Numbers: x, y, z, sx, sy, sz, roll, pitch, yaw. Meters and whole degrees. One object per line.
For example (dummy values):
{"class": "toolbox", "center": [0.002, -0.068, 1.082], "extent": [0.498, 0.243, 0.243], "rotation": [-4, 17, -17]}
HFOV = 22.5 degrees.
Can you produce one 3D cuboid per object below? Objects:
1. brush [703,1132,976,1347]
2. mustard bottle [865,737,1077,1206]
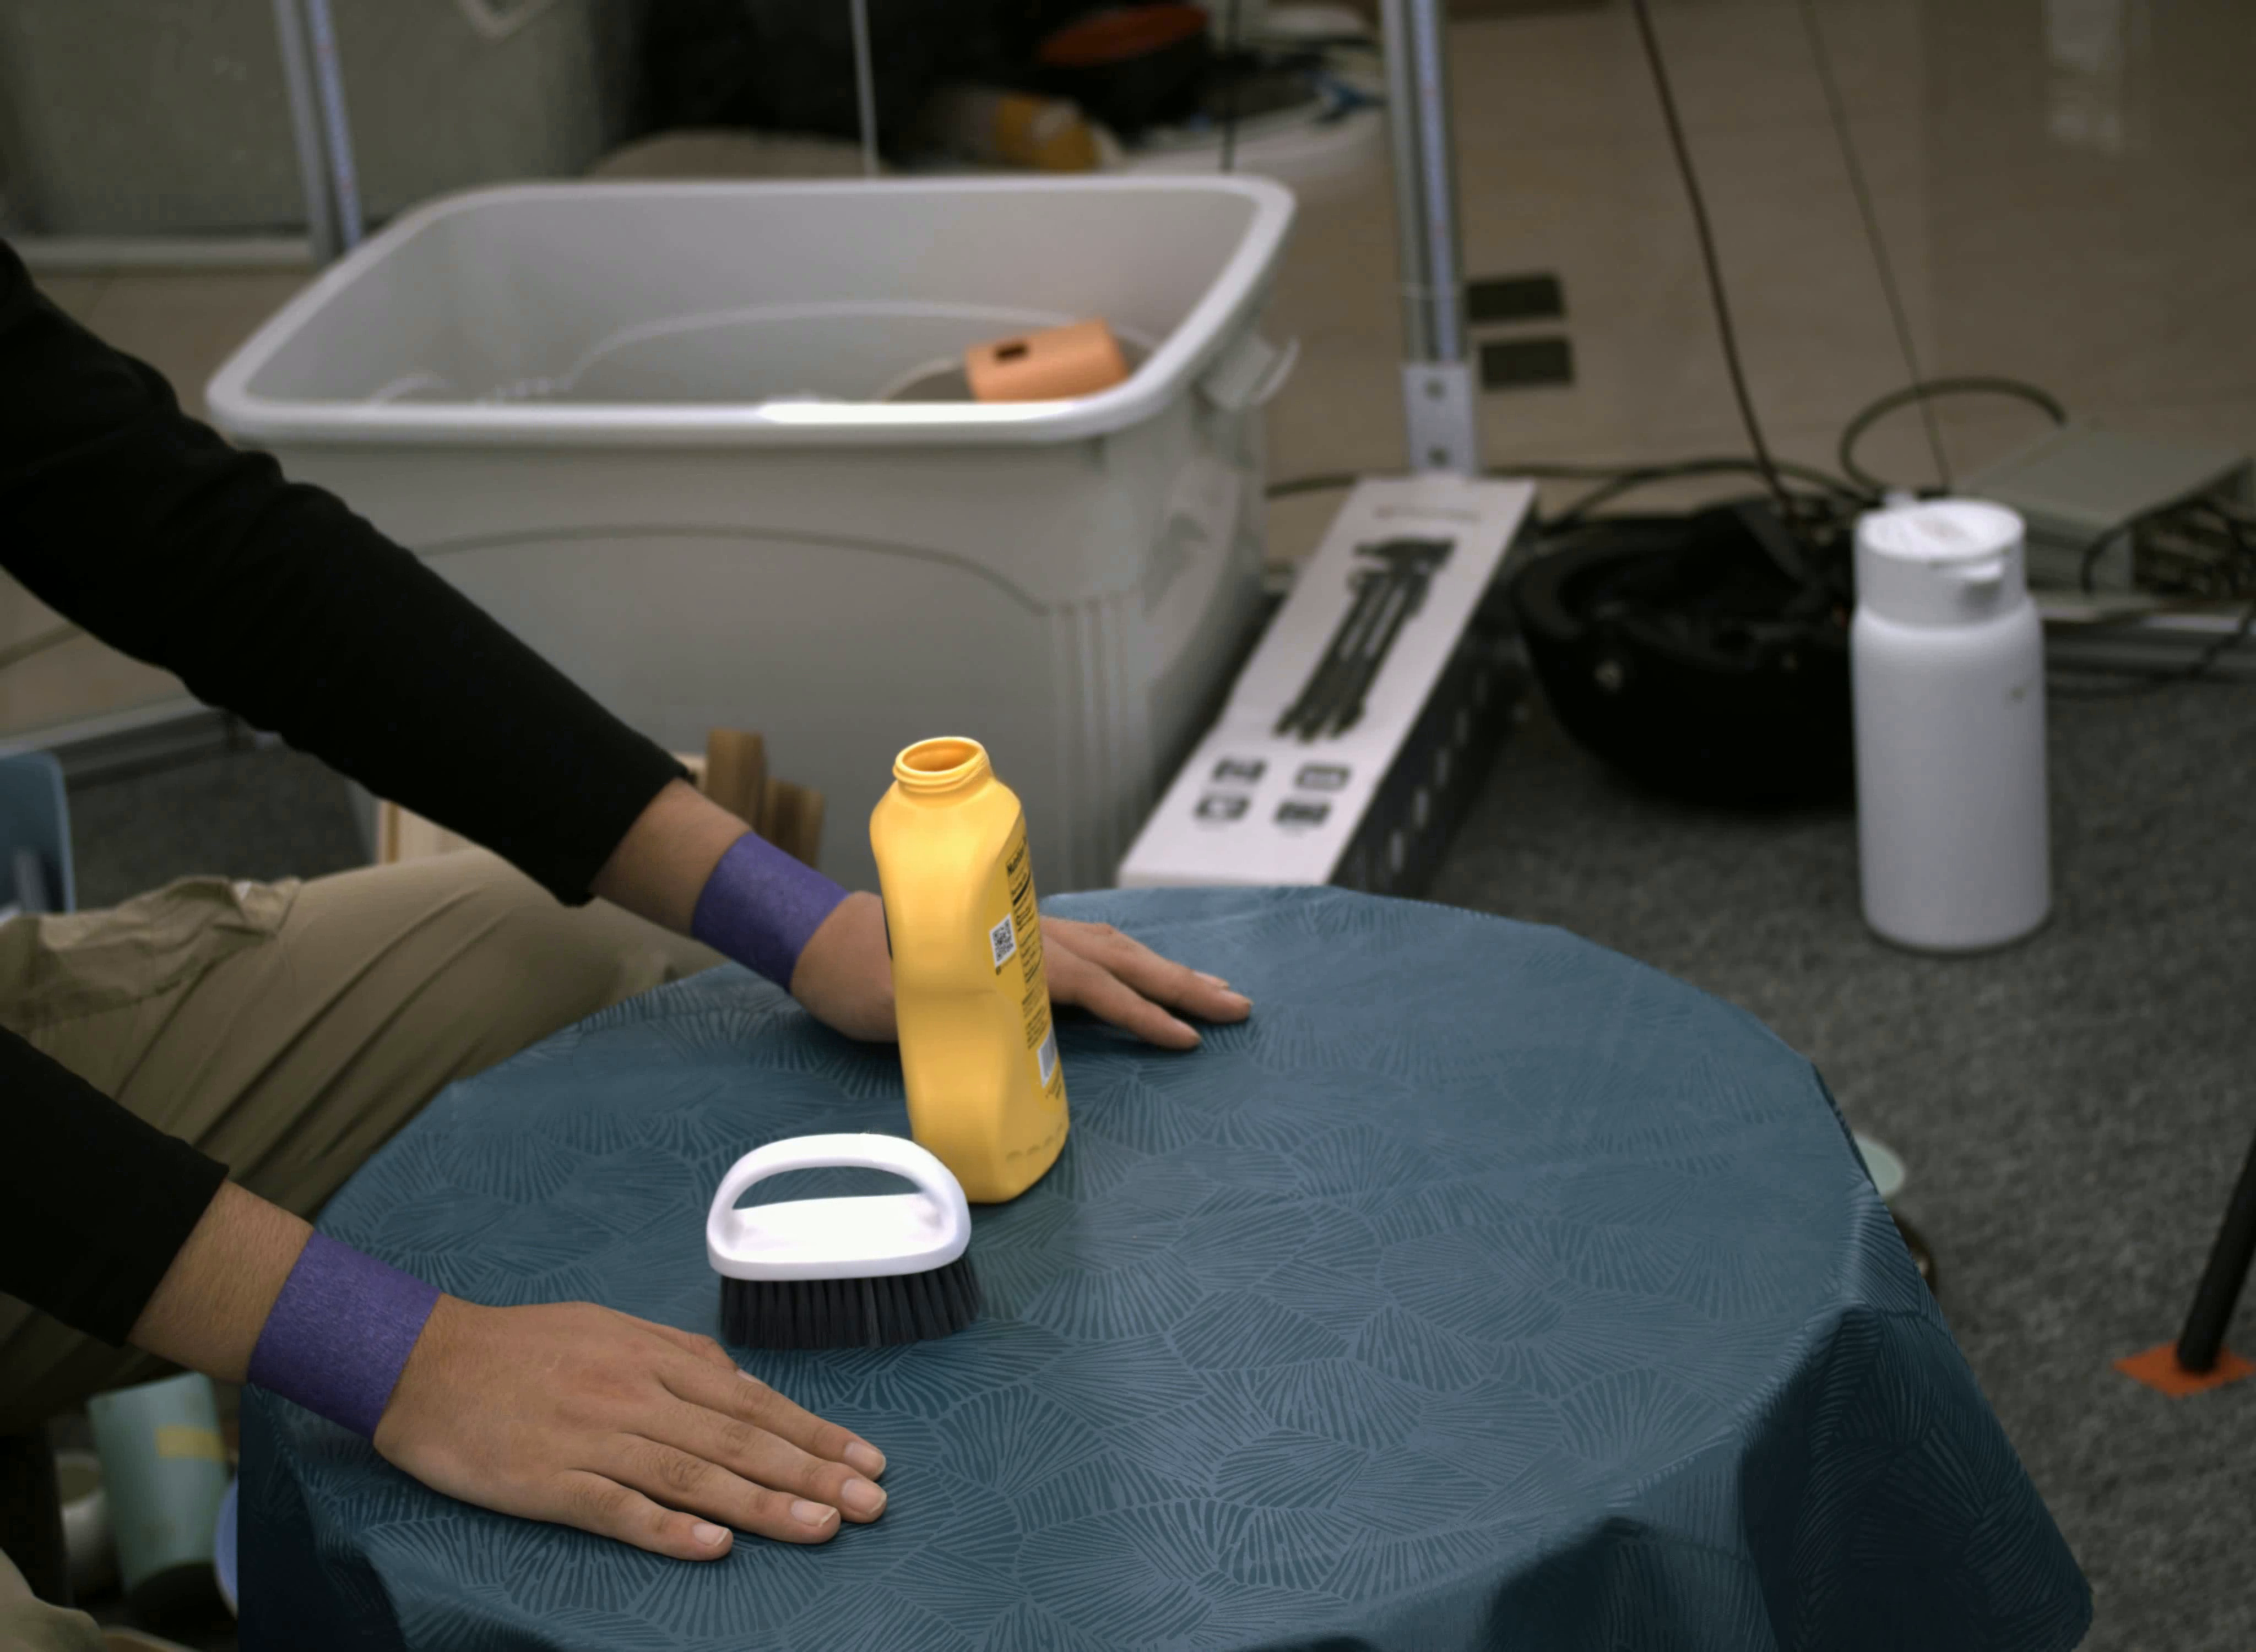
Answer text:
{"class": "brush", "center": [-0.107, 0.146, 2.067], "extent": [0.099, 0.073, 0.049], "rotation": [-1, 25, 8]}
{"class": "mustard bottle", "center": [-0.061, 0.051, 2.147], "extent": [0.059, 0.175, 0.097], "rotation": [-3, 27, 12]}
